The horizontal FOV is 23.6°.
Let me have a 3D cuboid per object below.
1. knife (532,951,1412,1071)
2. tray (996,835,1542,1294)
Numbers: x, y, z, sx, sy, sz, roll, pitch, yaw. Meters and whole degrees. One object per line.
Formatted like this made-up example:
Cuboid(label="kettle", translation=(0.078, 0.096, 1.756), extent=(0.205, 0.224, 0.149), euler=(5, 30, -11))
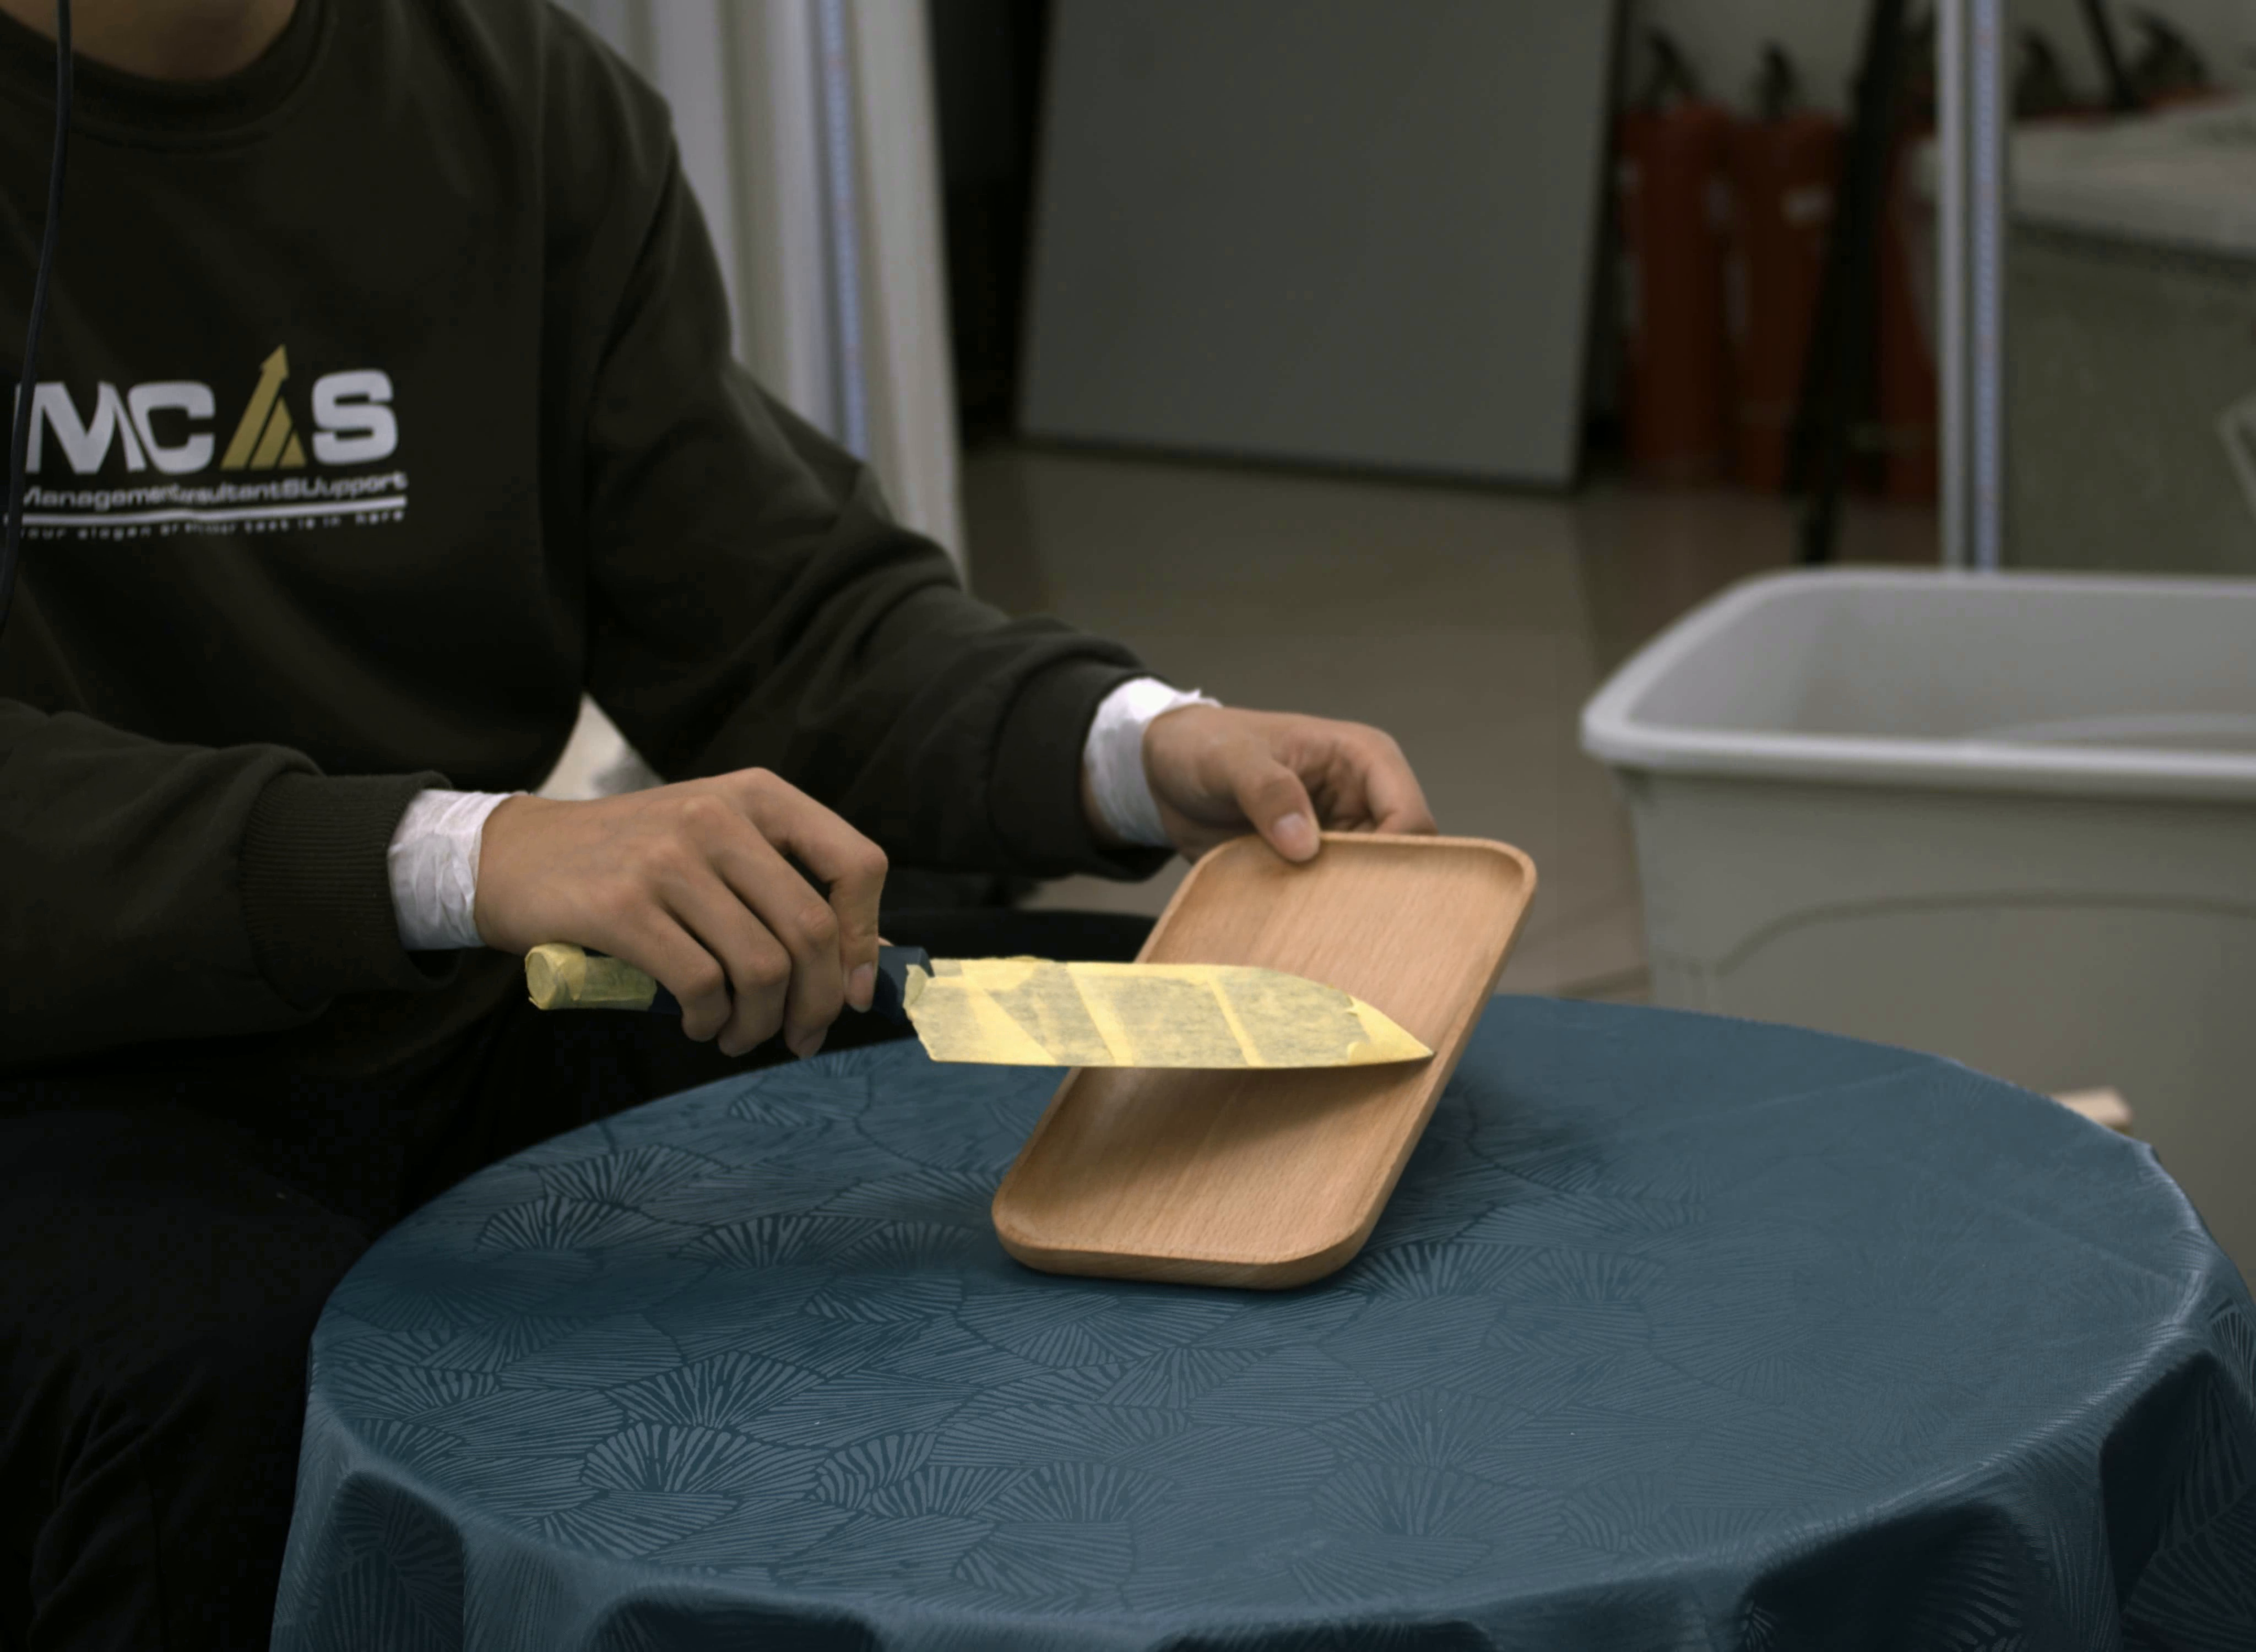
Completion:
Cuboid(label="knife", translation=(-0.047, 0.061, 1.732), extent=(0.284, 0.027, 0.081), euler=(1, 23, -10))
Cuboid(label="tray", translation=(0.050, 0.075, 1.768), extent=(0.130, 0.023, 0.249), euler=(-1, 32, 24))
